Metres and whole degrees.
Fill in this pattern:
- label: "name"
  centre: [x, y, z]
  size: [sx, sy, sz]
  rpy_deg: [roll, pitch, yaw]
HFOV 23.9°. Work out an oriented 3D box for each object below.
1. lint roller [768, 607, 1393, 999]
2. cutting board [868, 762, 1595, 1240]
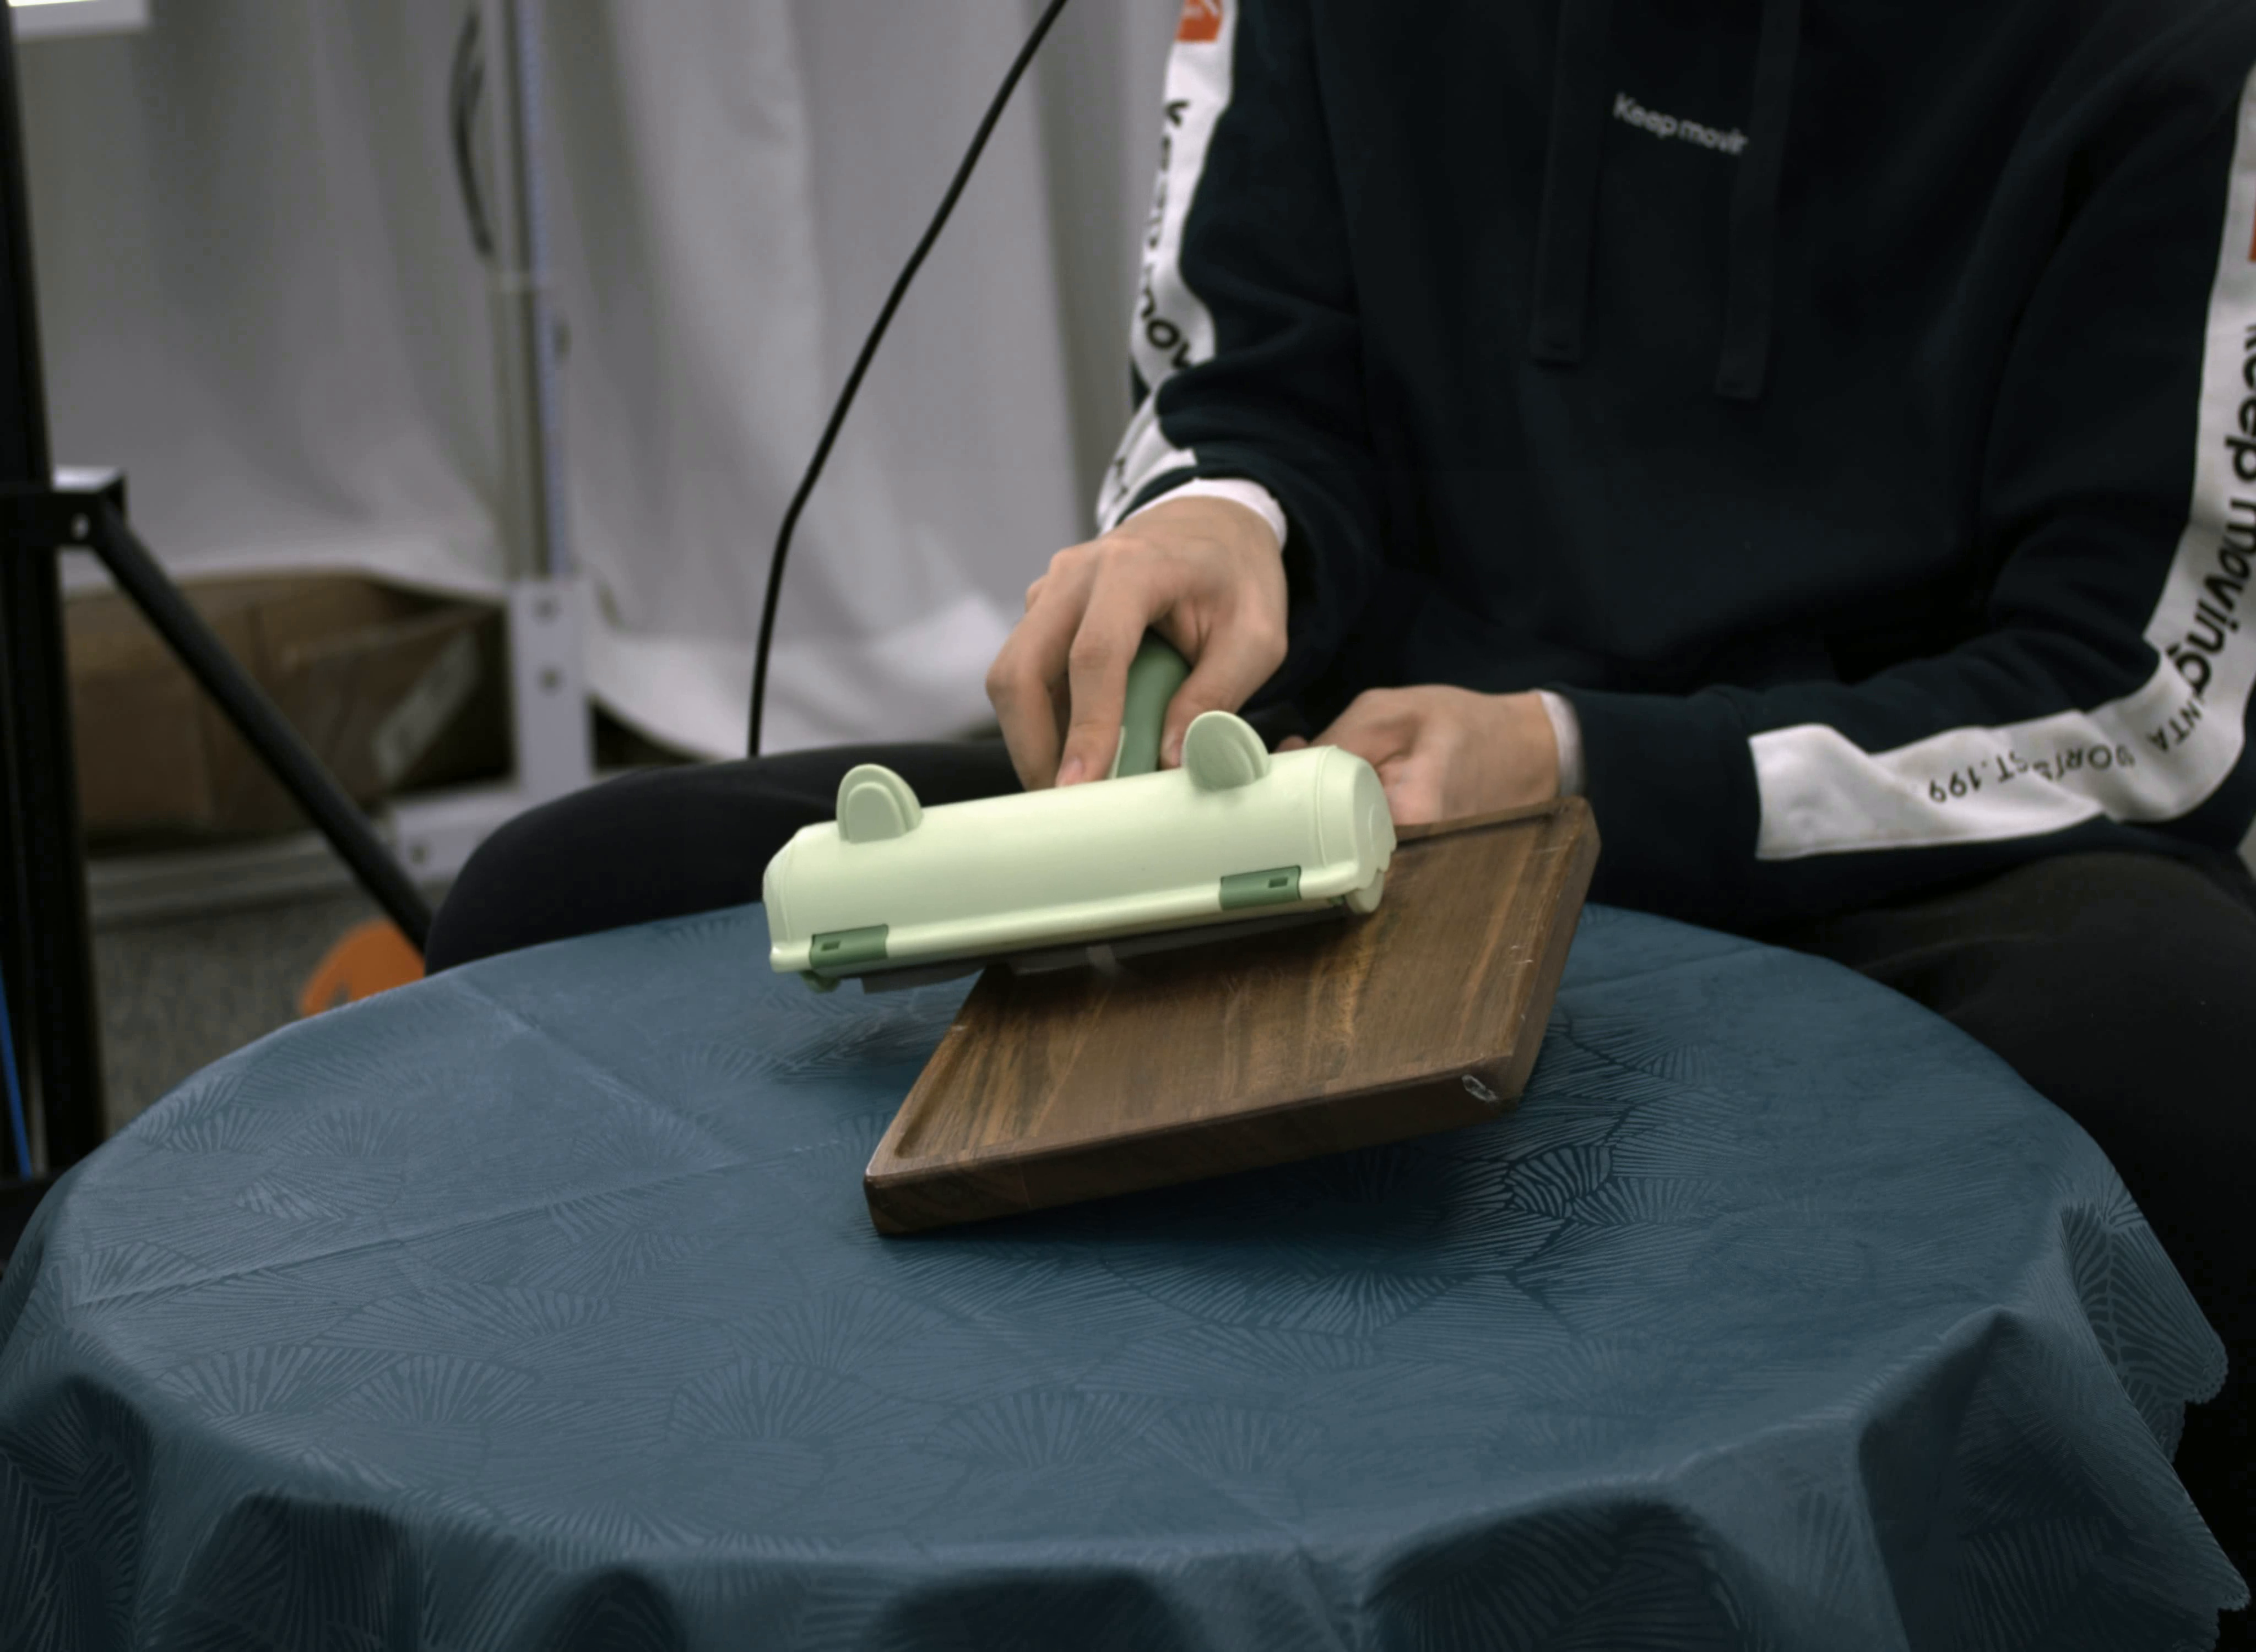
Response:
- label: "lint roller"
  centre: [-0.011, -0.028, 1.711]
  size: [0.200, 0.081, 0.184]
  rpy_deg: [-9, 42, 20]
- label: "cutting board"
  centre: [0.045, 0.040, 1.661]
  size: [0.202, 0.023, 0.351]
  rpy_deg: [-12, 15, 14]
